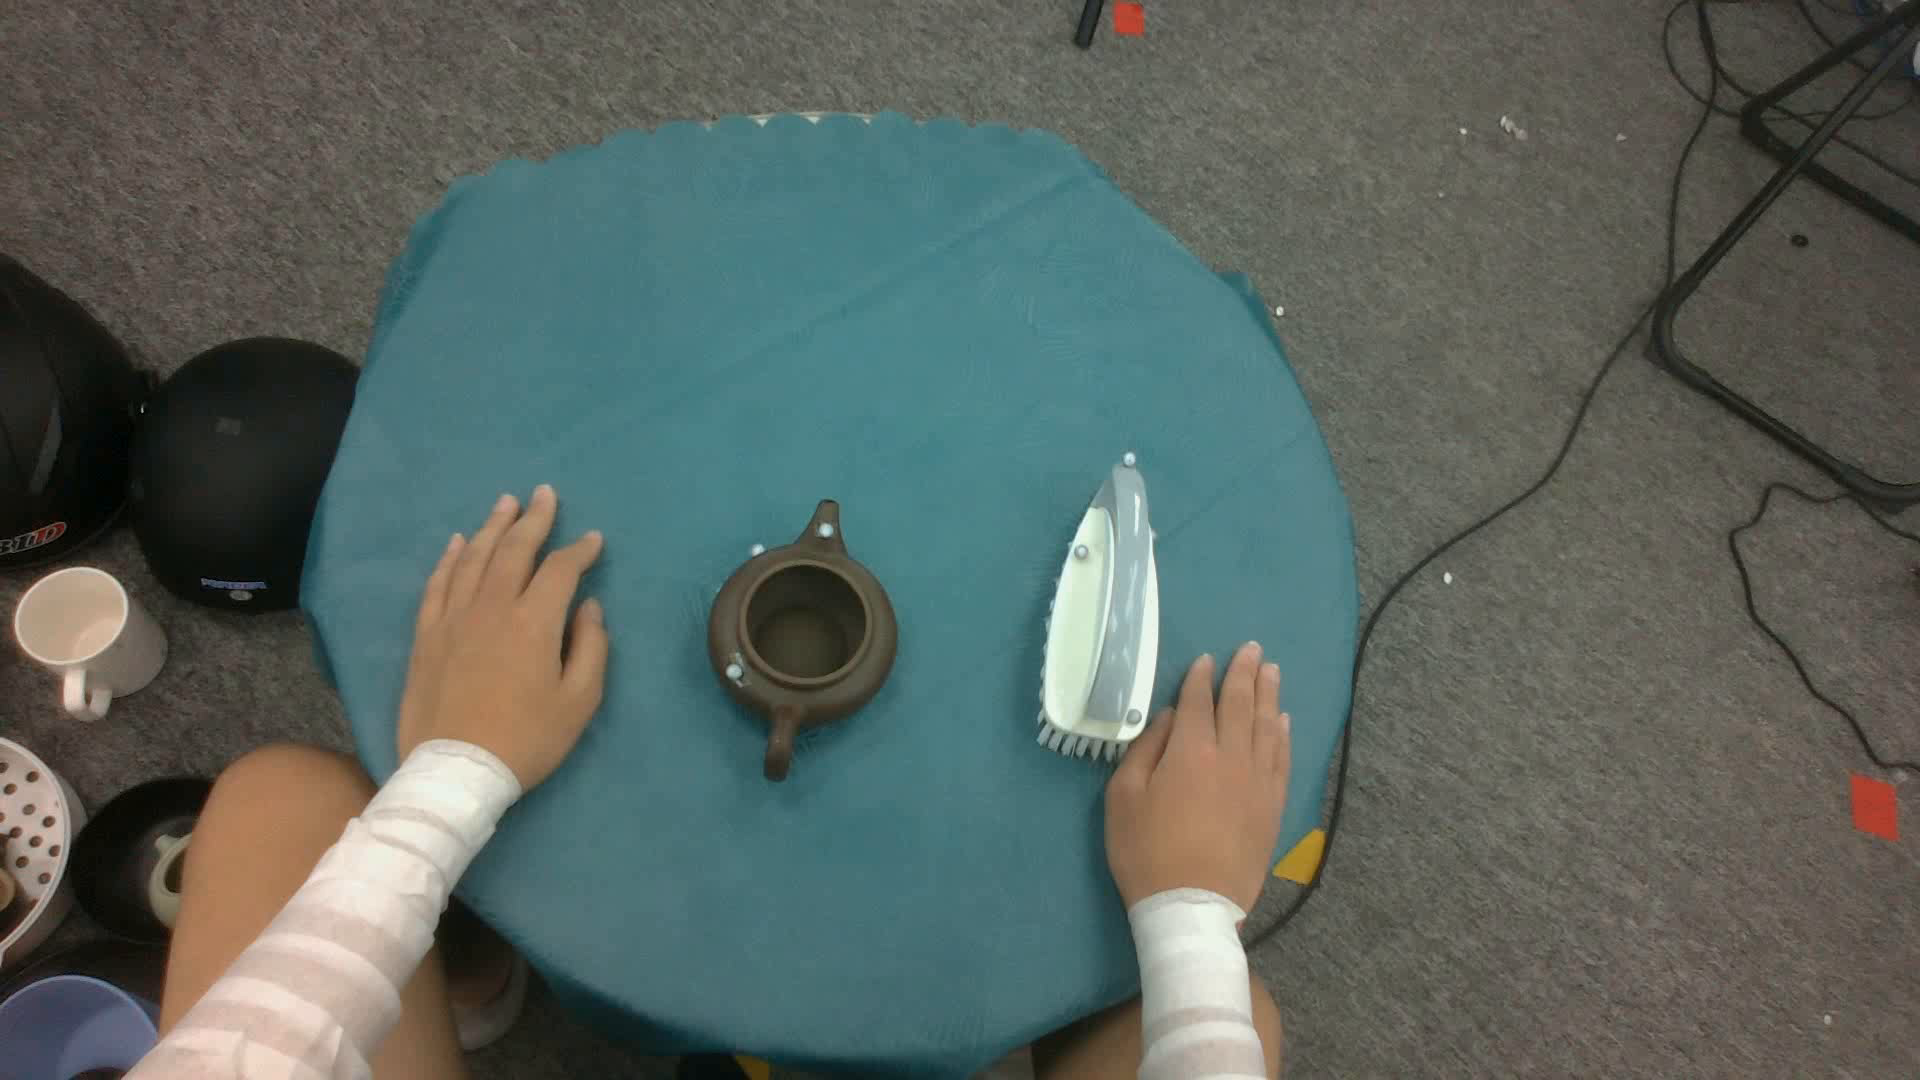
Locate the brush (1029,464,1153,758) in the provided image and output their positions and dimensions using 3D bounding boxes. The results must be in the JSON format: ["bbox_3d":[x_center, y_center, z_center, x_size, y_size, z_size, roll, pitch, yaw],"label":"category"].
[{"bbox_3d":[0.081,0.026,0.775,0.061,0.094,0.176,12,62,-8],"label":"brush"}]

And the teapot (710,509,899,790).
[{"bbox_3d":[-0.084,0.061,0.750,0.102,0.053,0.154,3,65,-7],"label":"teapot"}]
